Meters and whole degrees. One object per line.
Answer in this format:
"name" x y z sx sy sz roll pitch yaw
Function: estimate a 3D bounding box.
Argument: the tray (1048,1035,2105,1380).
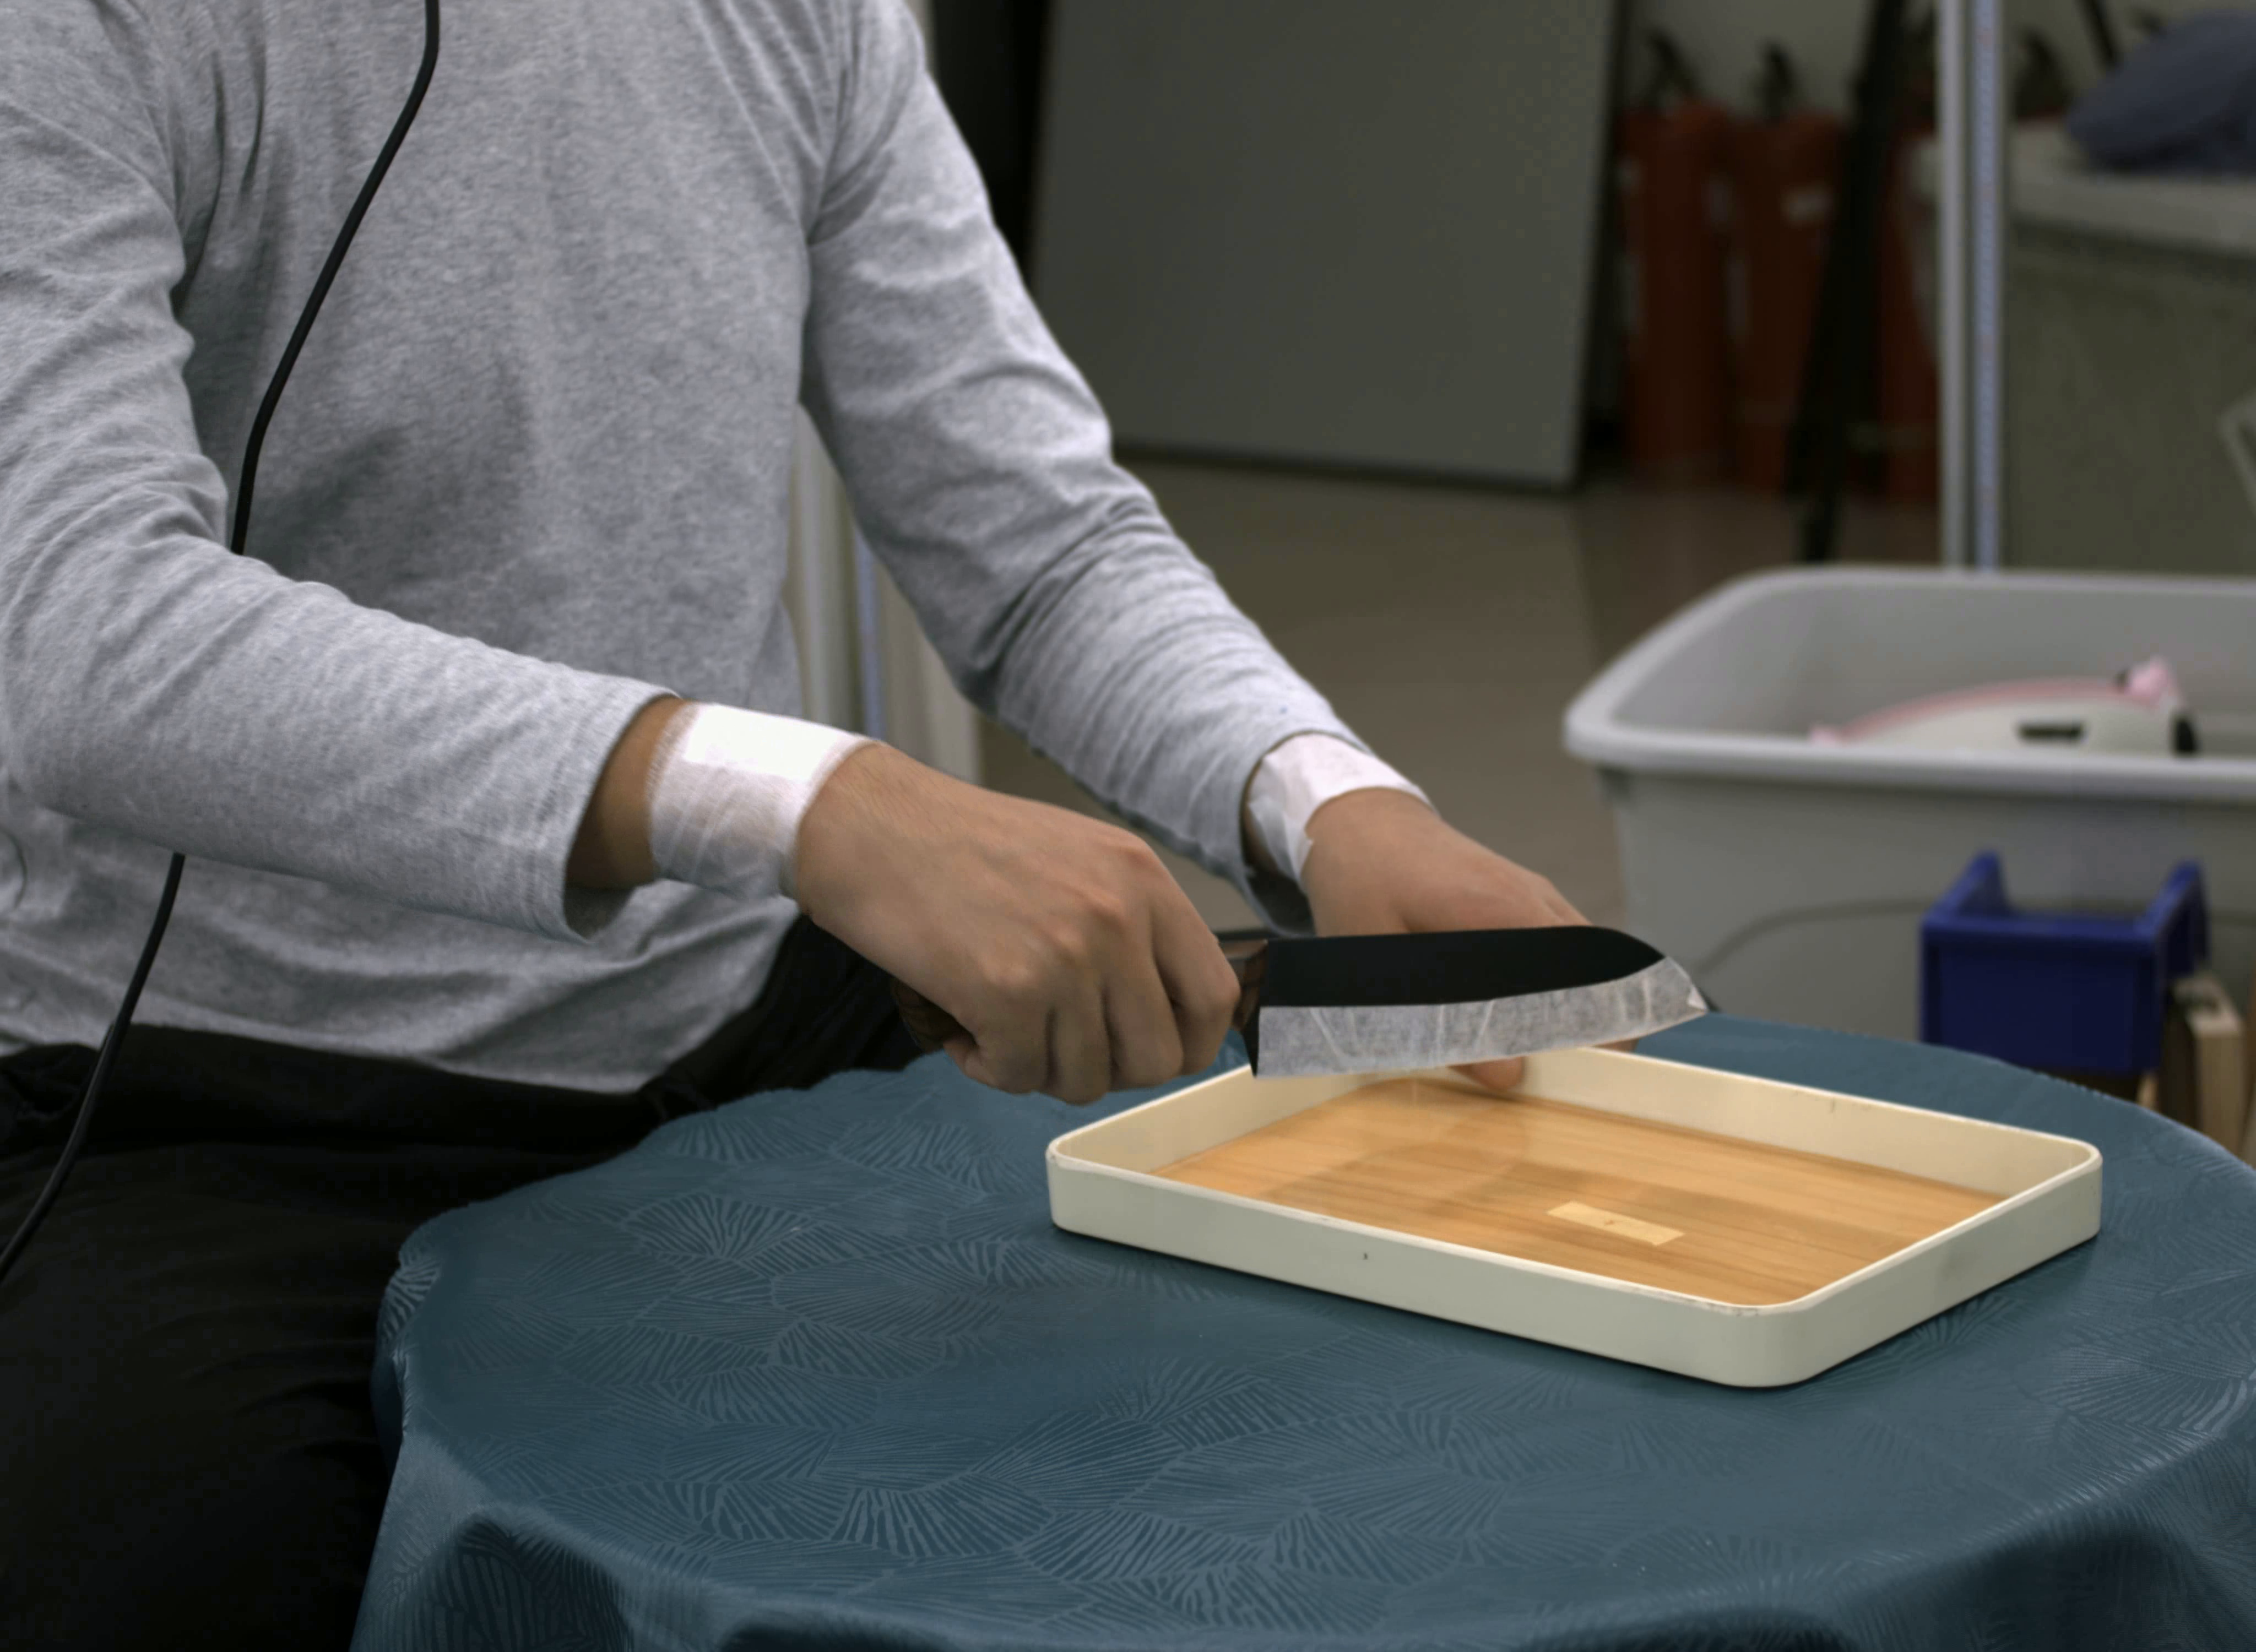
"tray" 0.139 0.115 1.704 0.303 0.028 0.188 8 18 43

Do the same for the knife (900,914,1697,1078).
"knife" 0.059 0.053 1.670 0.282 0.051 0.020 0 6 -28
